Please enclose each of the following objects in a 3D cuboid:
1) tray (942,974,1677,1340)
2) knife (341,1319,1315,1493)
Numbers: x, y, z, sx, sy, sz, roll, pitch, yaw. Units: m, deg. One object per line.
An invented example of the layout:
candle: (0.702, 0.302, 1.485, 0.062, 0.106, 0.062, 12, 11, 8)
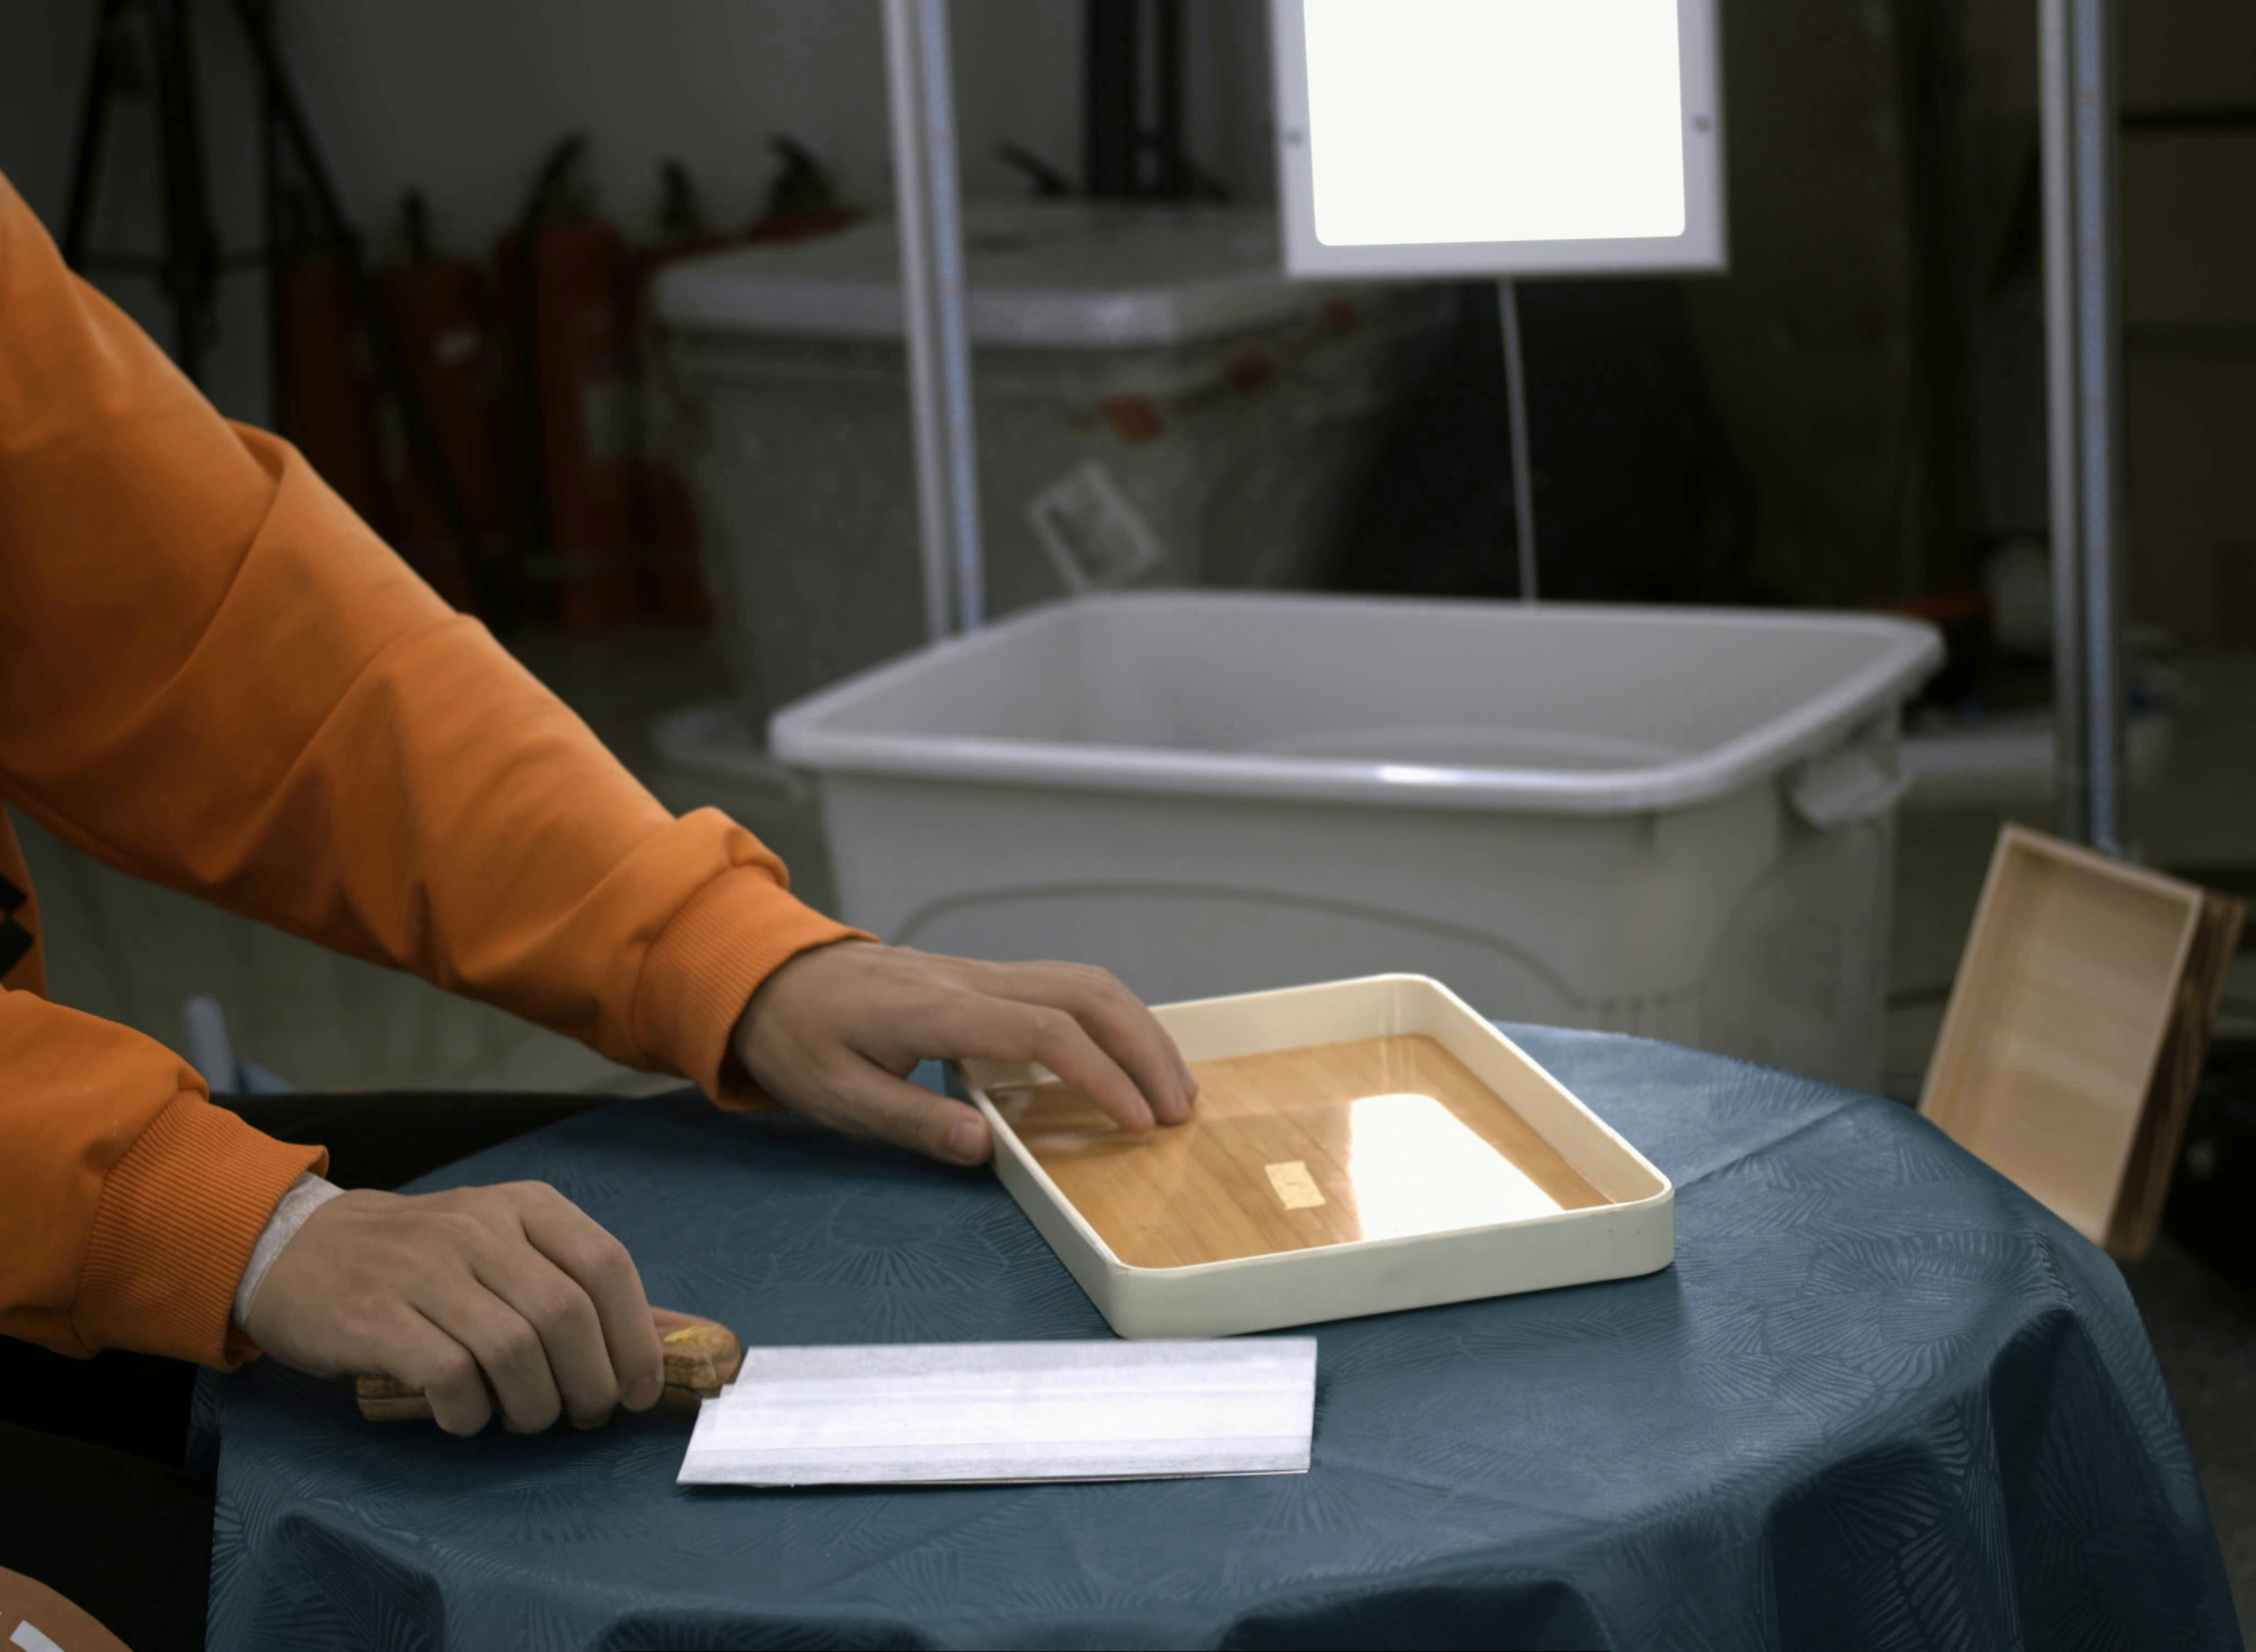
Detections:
tray: (0.056, 0.110, 1.887, 0.189, 0.027, 0.302, -7, 14, -11)
knife: (-0.095, 0.177, 1.681, 0.306, 0.021, 0.092, -2, 23, 7)
